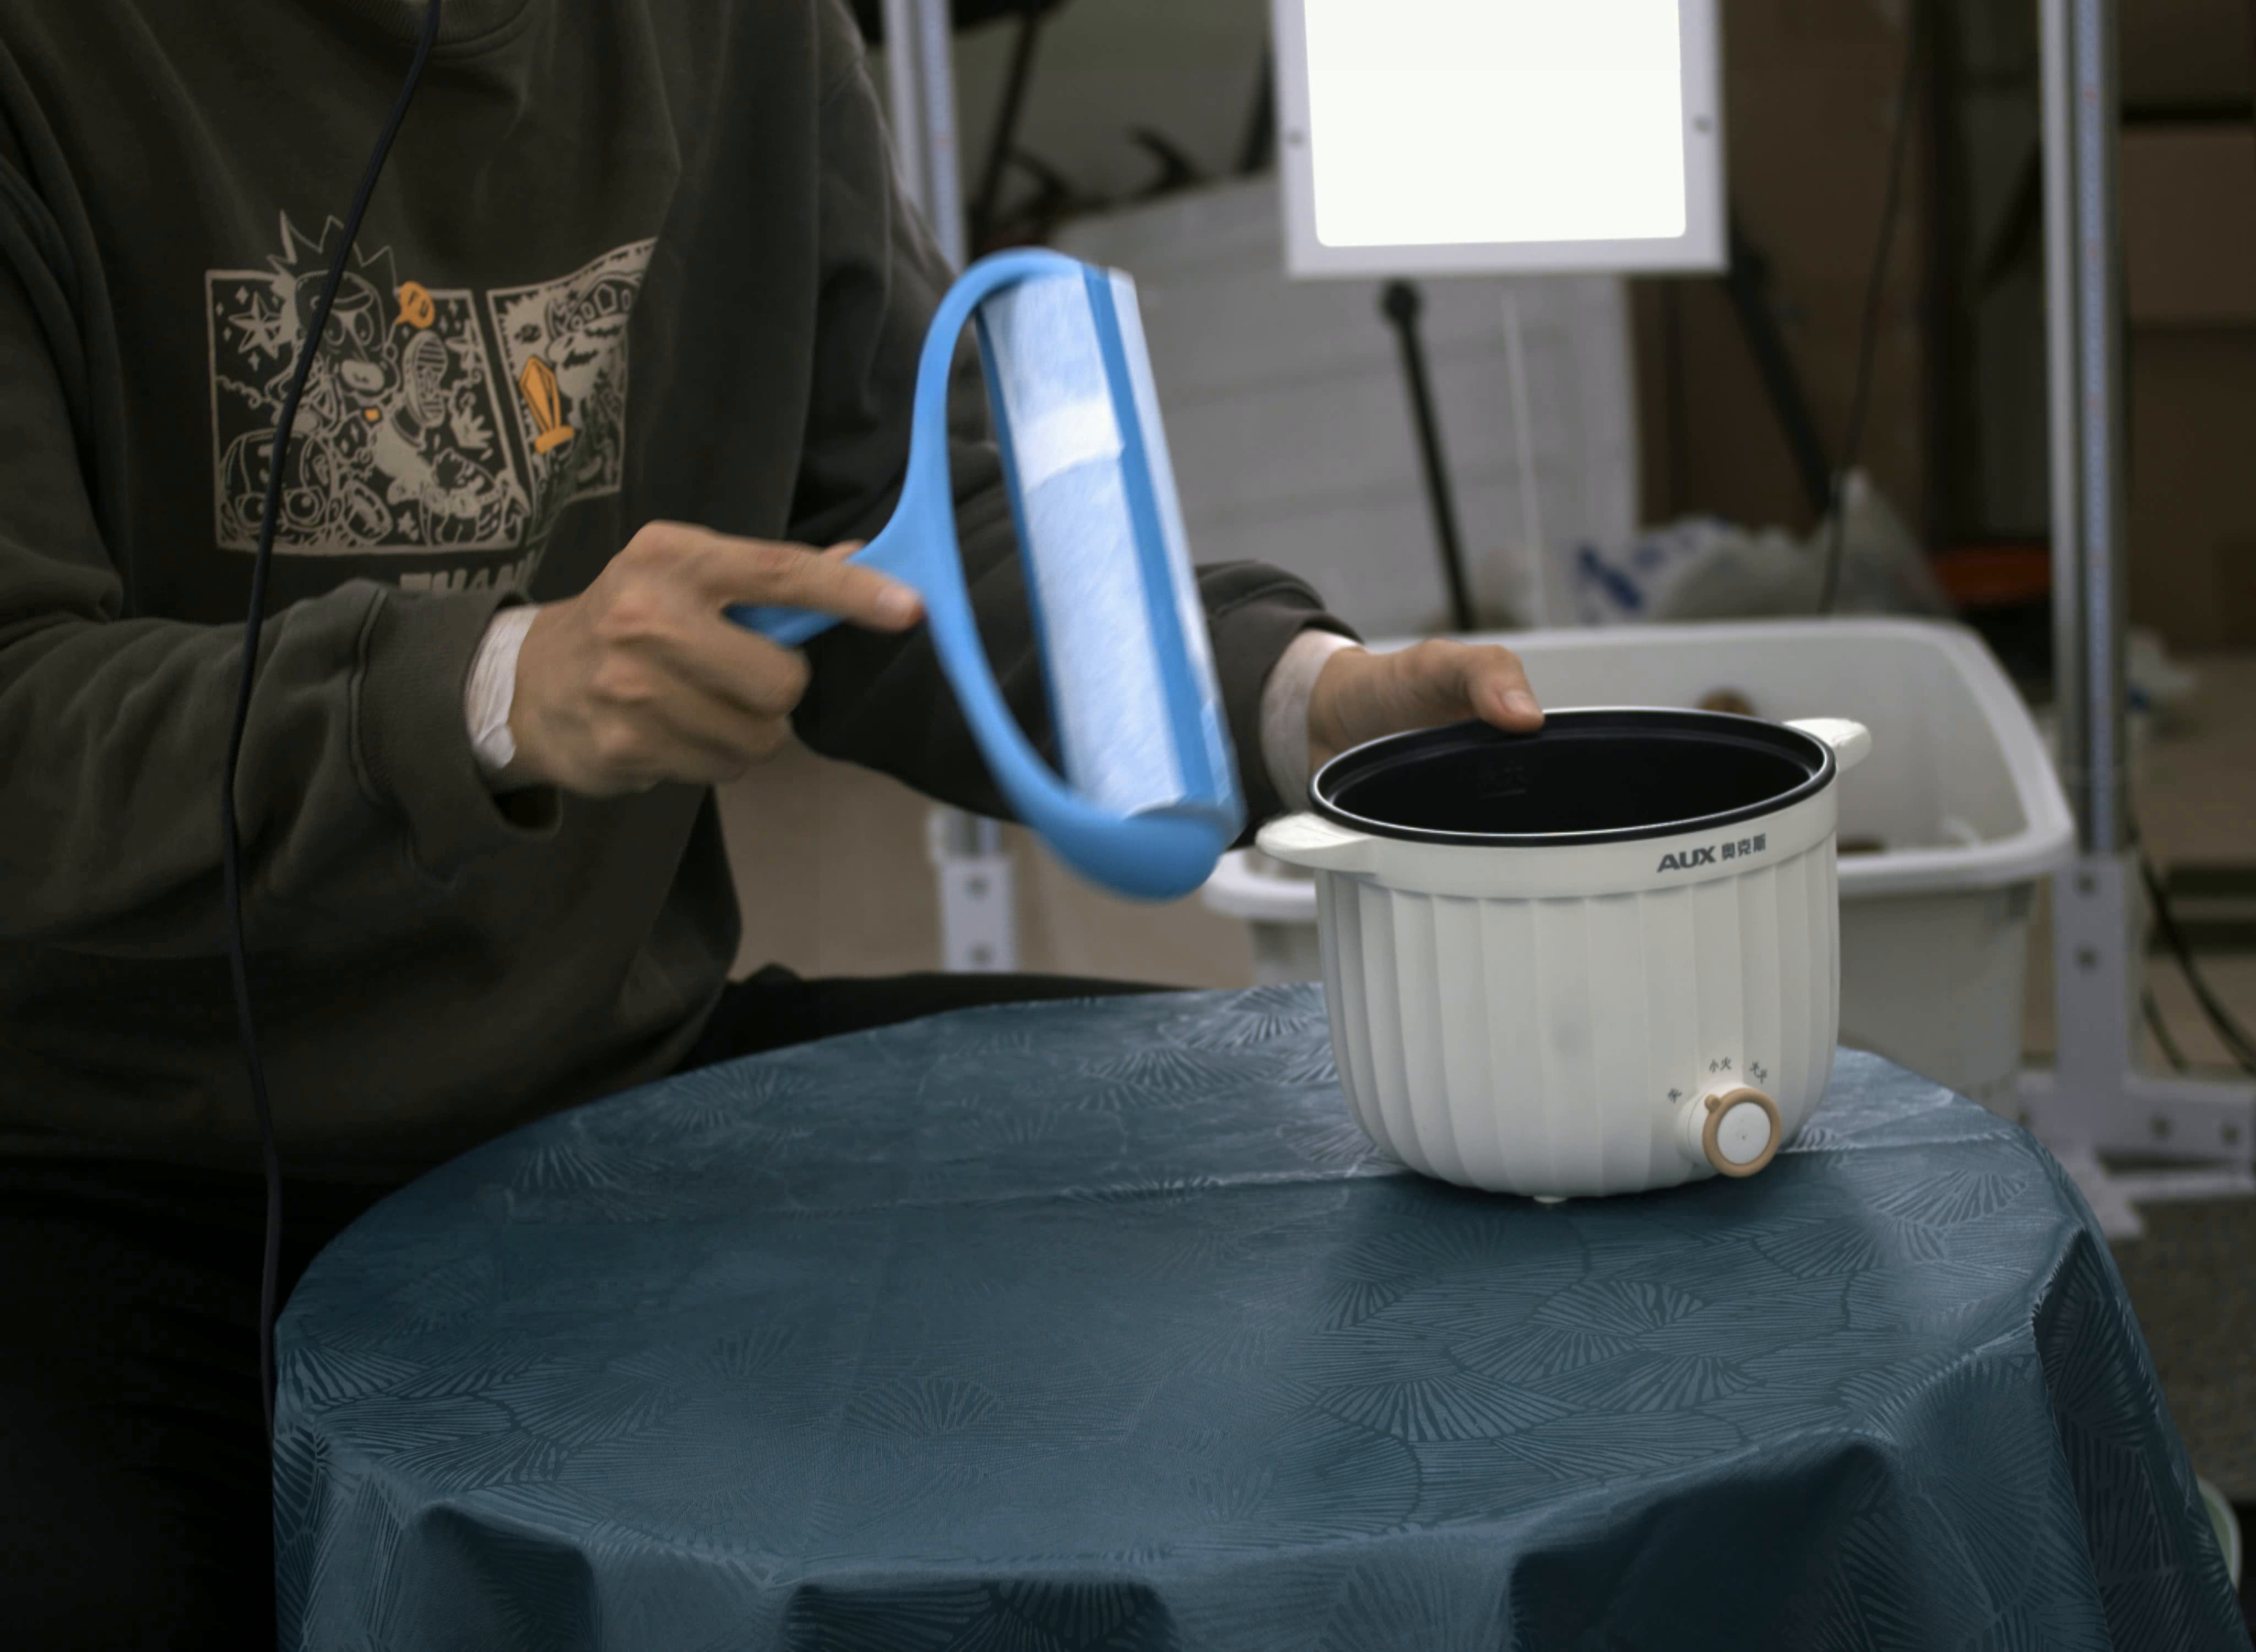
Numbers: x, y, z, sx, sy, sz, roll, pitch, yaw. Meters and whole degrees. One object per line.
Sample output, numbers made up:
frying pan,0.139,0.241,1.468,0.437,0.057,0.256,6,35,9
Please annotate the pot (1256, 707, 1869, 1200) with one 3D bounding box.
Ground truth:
pot,0.160,0.044,1.879,0.235,0.143,0.194,-13,13,-24

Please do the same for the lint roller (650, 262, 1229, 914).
lint roller,-0.068,-0.065,1.744,0.180,0.229,0.068,-13,-24,3
